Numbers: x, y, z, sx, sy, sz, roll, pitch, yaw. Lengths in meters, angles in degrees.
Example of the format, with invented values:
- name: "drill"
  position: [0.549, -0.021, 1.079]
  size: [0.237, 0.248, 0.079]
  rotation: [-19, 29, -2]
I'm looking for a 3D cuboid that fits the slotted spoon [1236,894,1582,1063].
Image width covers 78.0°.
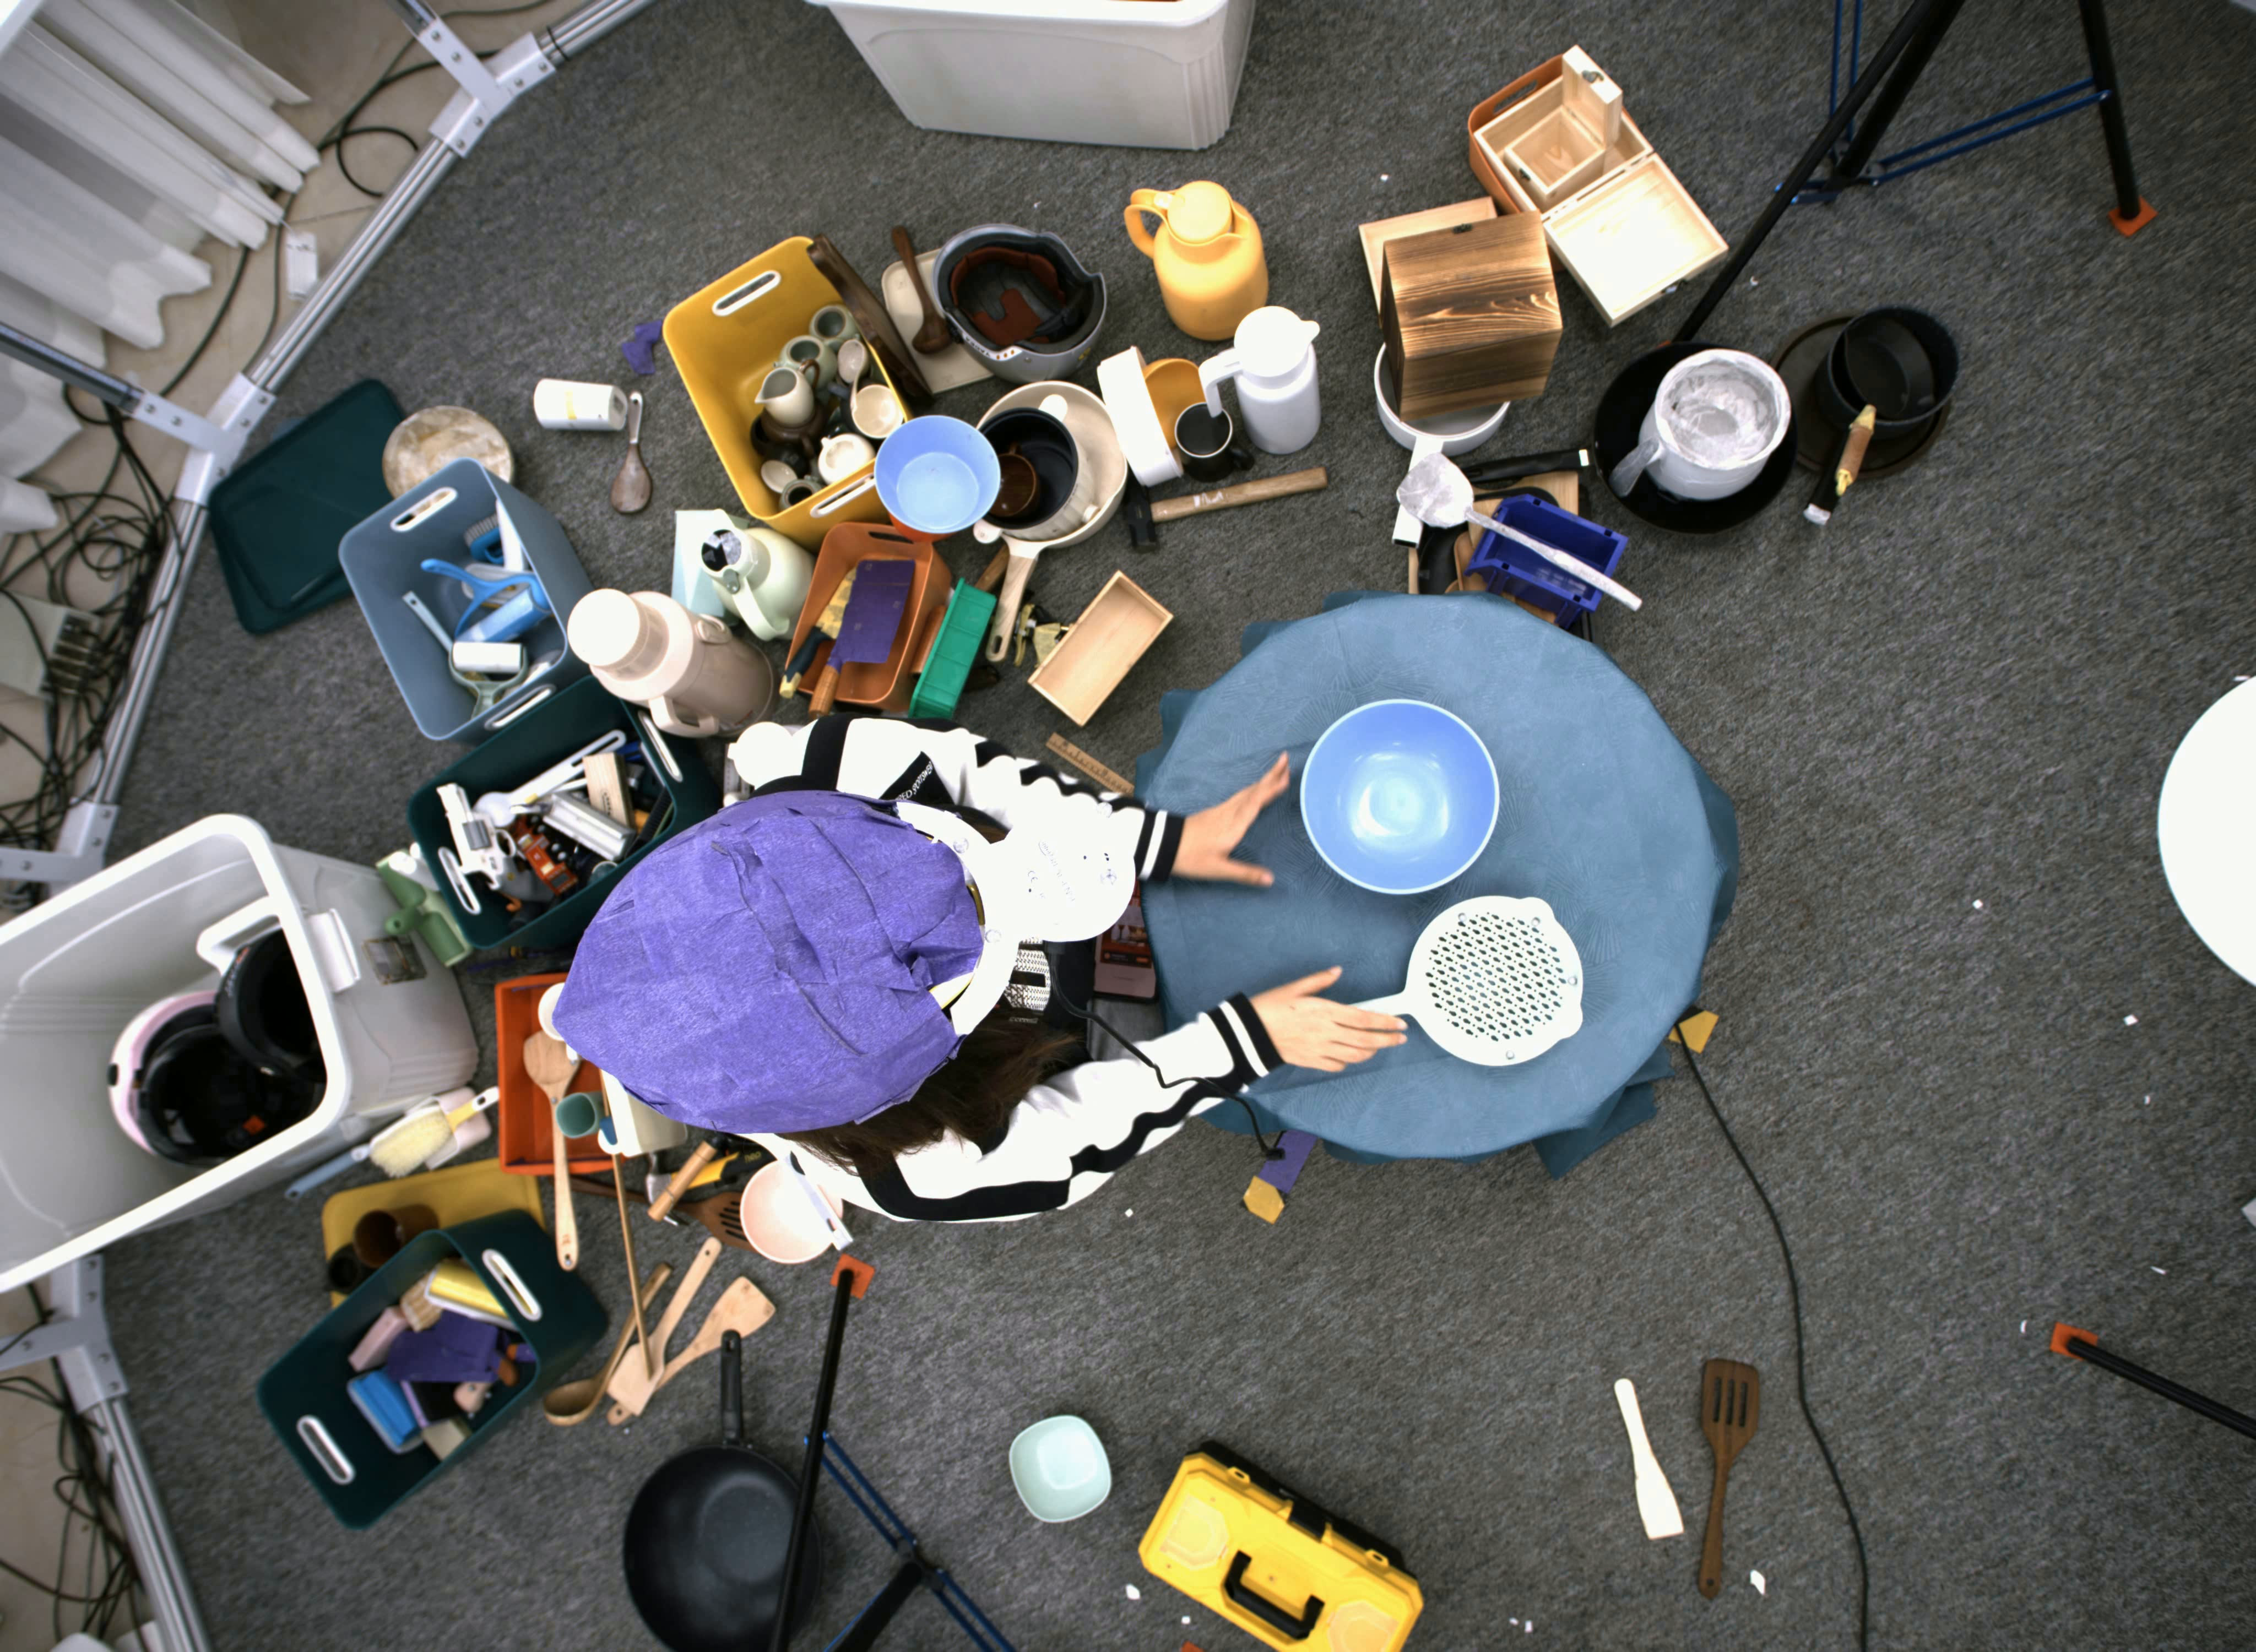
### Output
- name: "slotted spoon"
  position: [0.281, 0.179, 1.423]
  size: [0.361, 0.075, 0.168]
  rotation: [-16, 84, 11]

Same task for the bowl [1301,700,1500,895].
- name: "bowl"
  position: [0.278, -0.026, 1.416]
  size: [0.197, 0.095, 0.196]
  rotation: [-1, 87, 10]
